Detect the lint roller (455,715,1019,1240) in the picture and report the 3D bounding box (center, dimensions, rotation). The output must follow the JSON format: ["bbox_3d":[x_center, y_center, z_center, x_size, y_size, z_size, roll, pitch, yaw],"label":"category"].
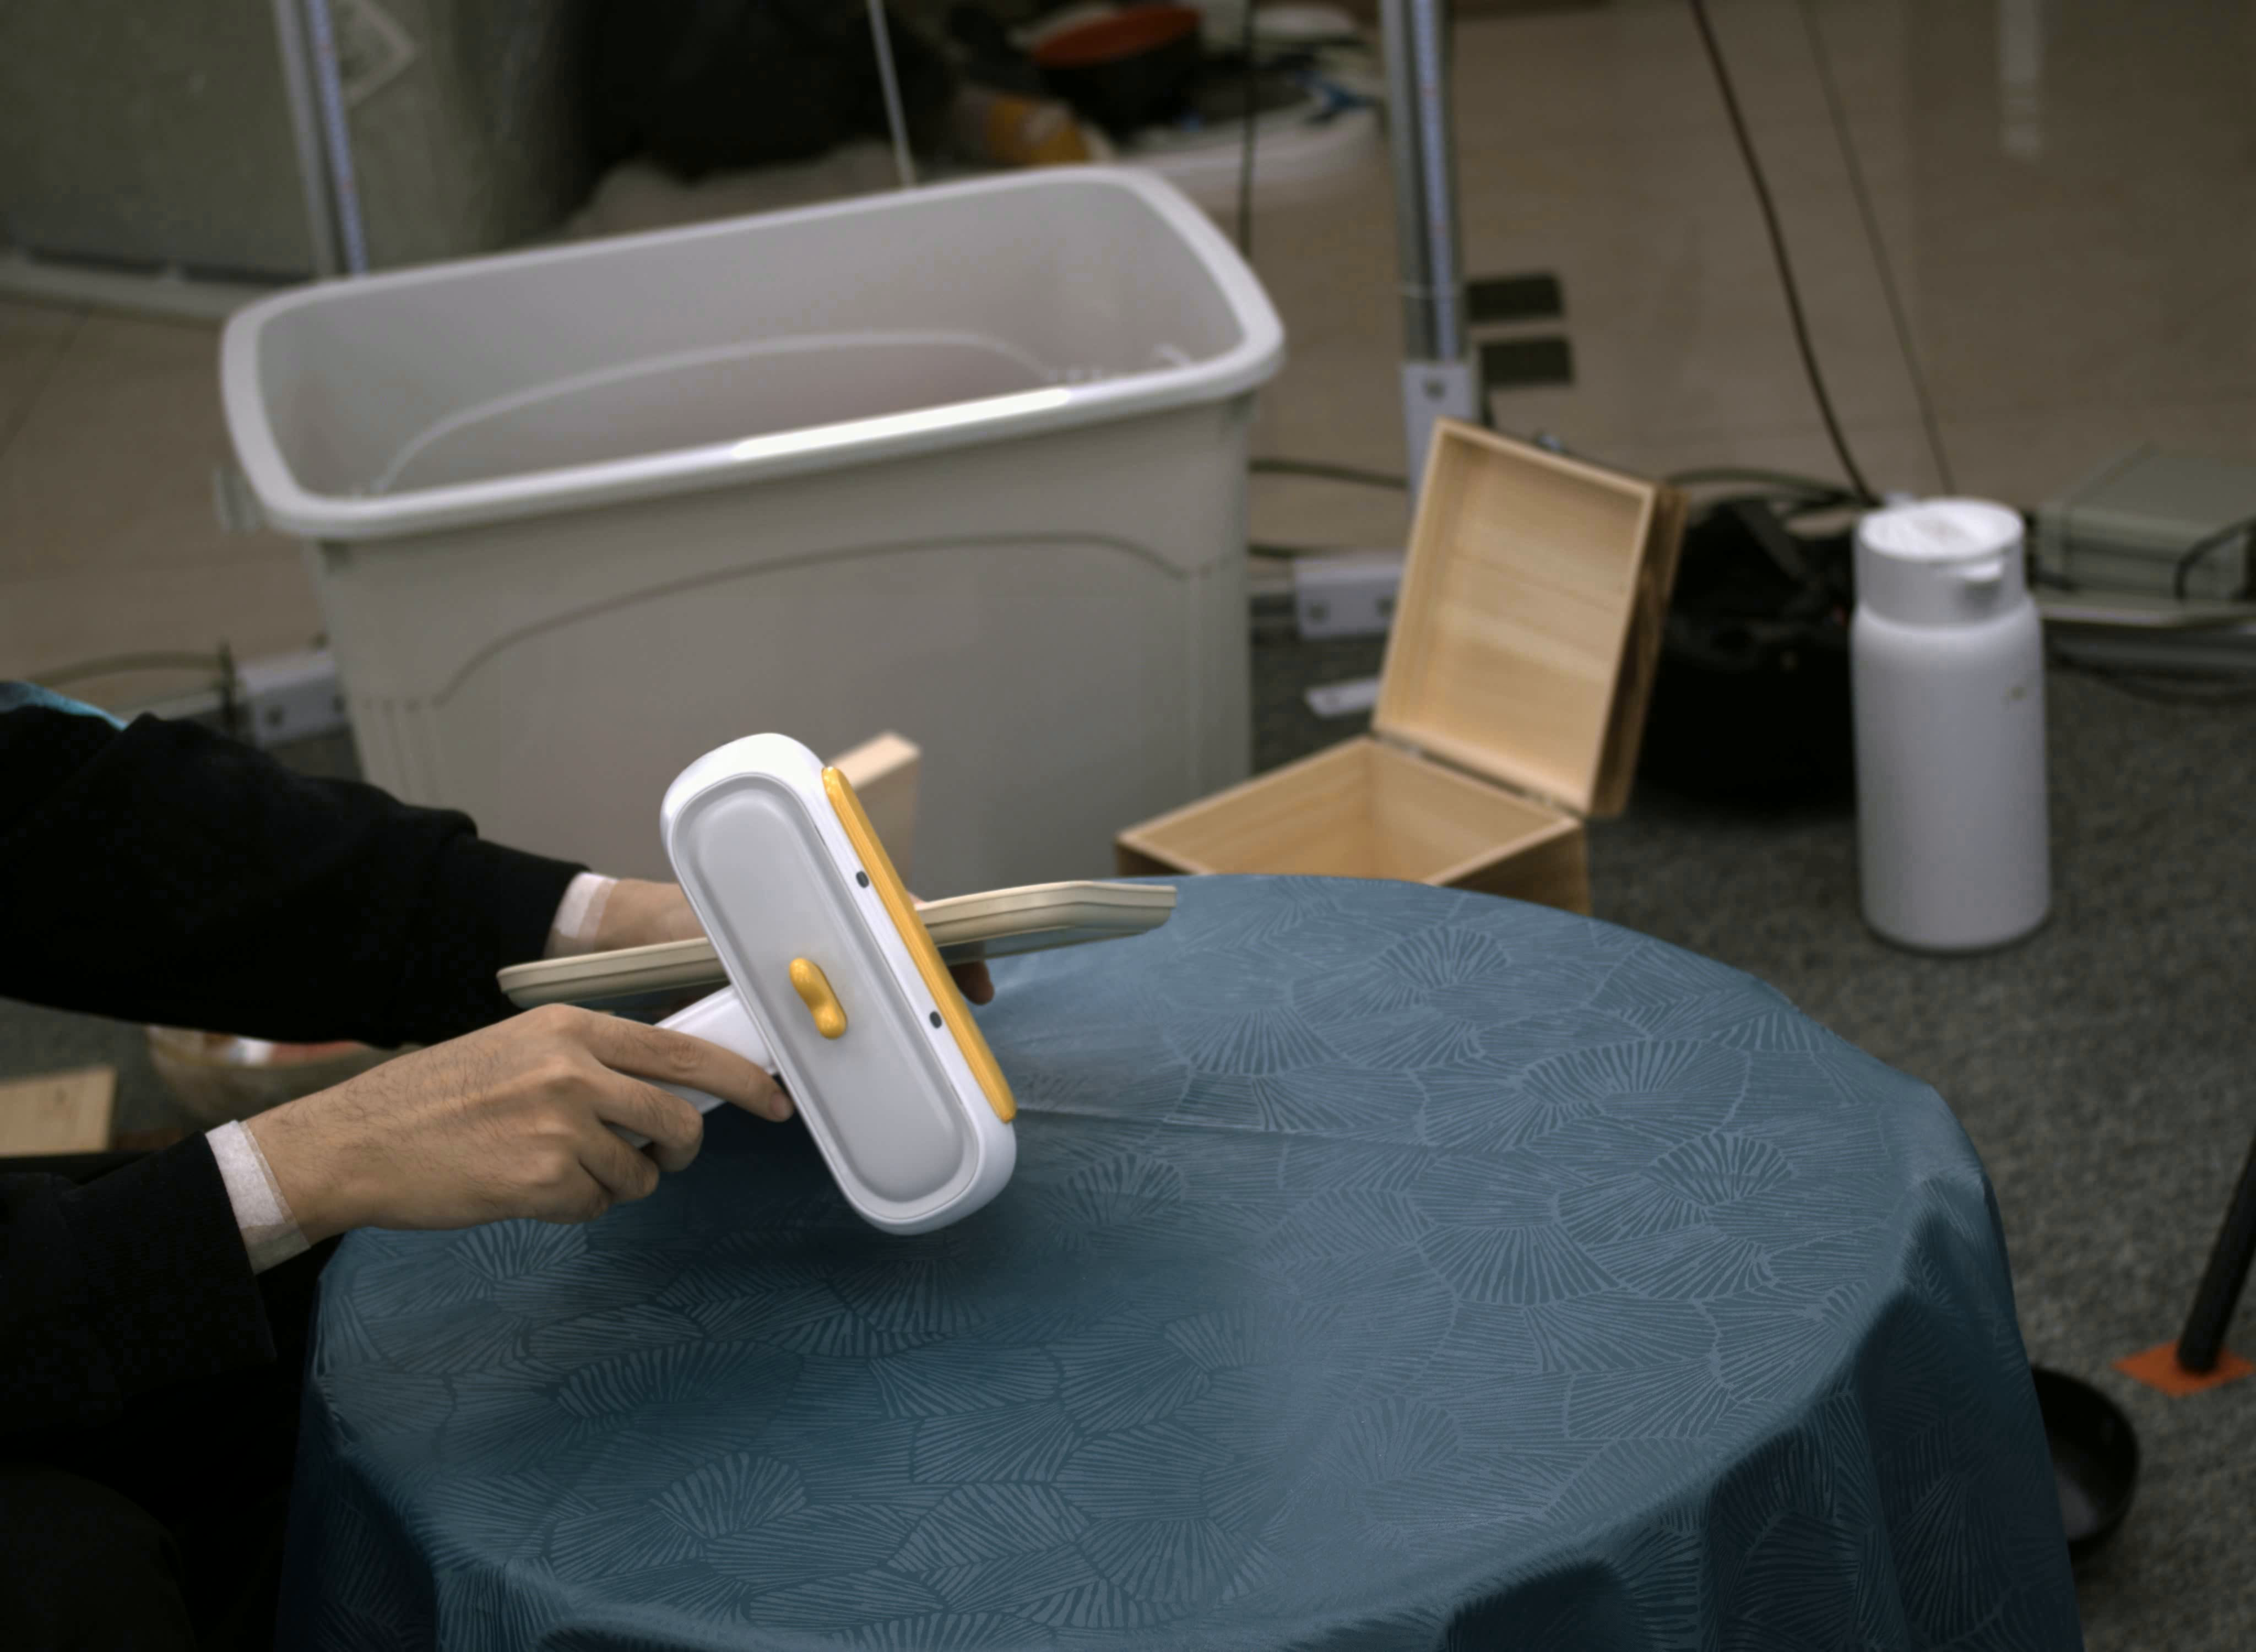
[{"bbox_3d":[-0.157,0.083,2.051,0.192,0.194,0.073,-32,10,4],"label":"lint roller"}]

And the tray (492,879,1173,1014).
[{"bbox_3d":[-0.111,0.048,2.168,0.239,0.017,0.171,-10,-4,17],"label":"tray"}]
